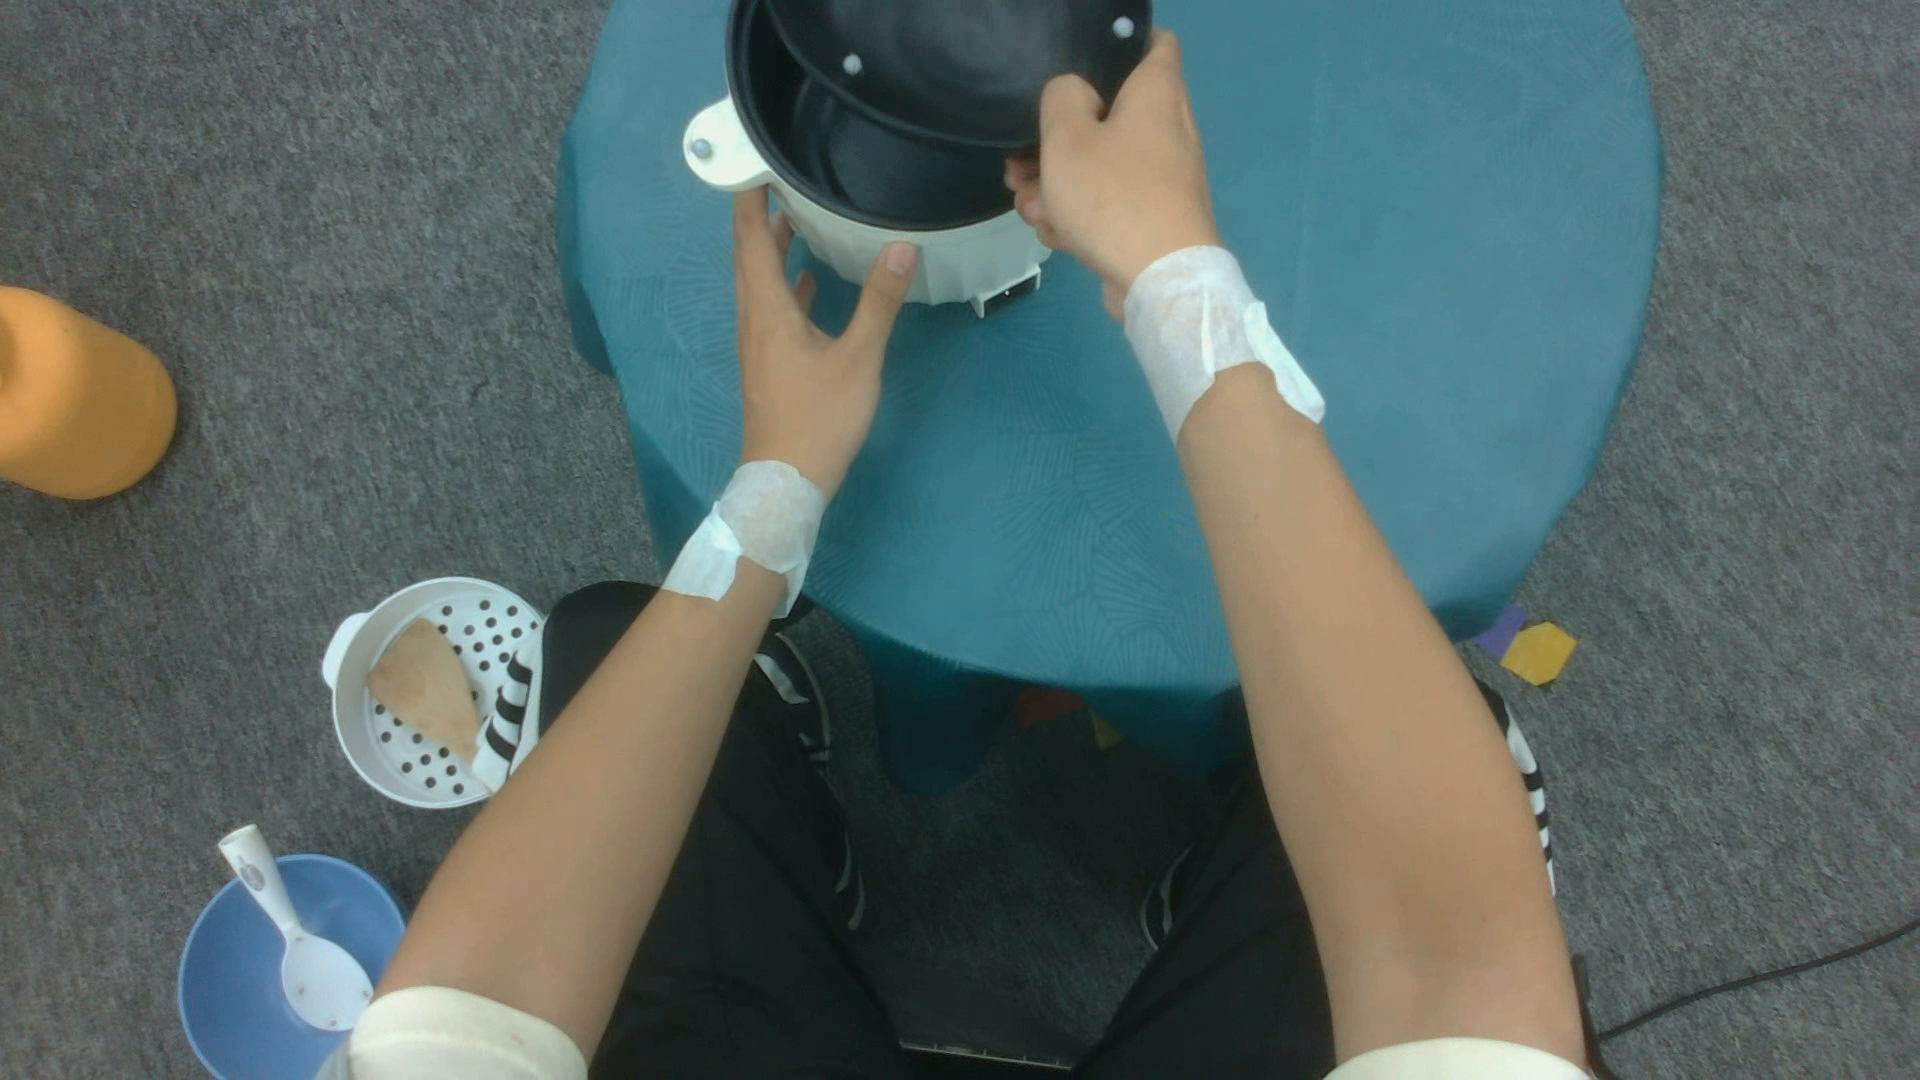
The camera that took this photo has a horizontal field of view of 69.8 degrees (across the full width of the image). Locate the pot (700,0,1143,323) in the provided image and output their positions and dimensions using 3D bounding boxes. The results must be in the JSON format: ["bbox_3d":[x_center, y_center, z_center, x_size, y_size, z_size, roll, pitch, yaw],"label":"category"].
[{"bbox_3d":[-0.017,-0.216,0.713,0.240,0.142,0.190,-29,83,-4],"label":"pot"}]

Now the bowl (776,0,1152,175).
[{"bbox_3d":[0.004,-0.223,0.596,0.170,0.066,0.137,31,87,5],"label":"bowl"}]
